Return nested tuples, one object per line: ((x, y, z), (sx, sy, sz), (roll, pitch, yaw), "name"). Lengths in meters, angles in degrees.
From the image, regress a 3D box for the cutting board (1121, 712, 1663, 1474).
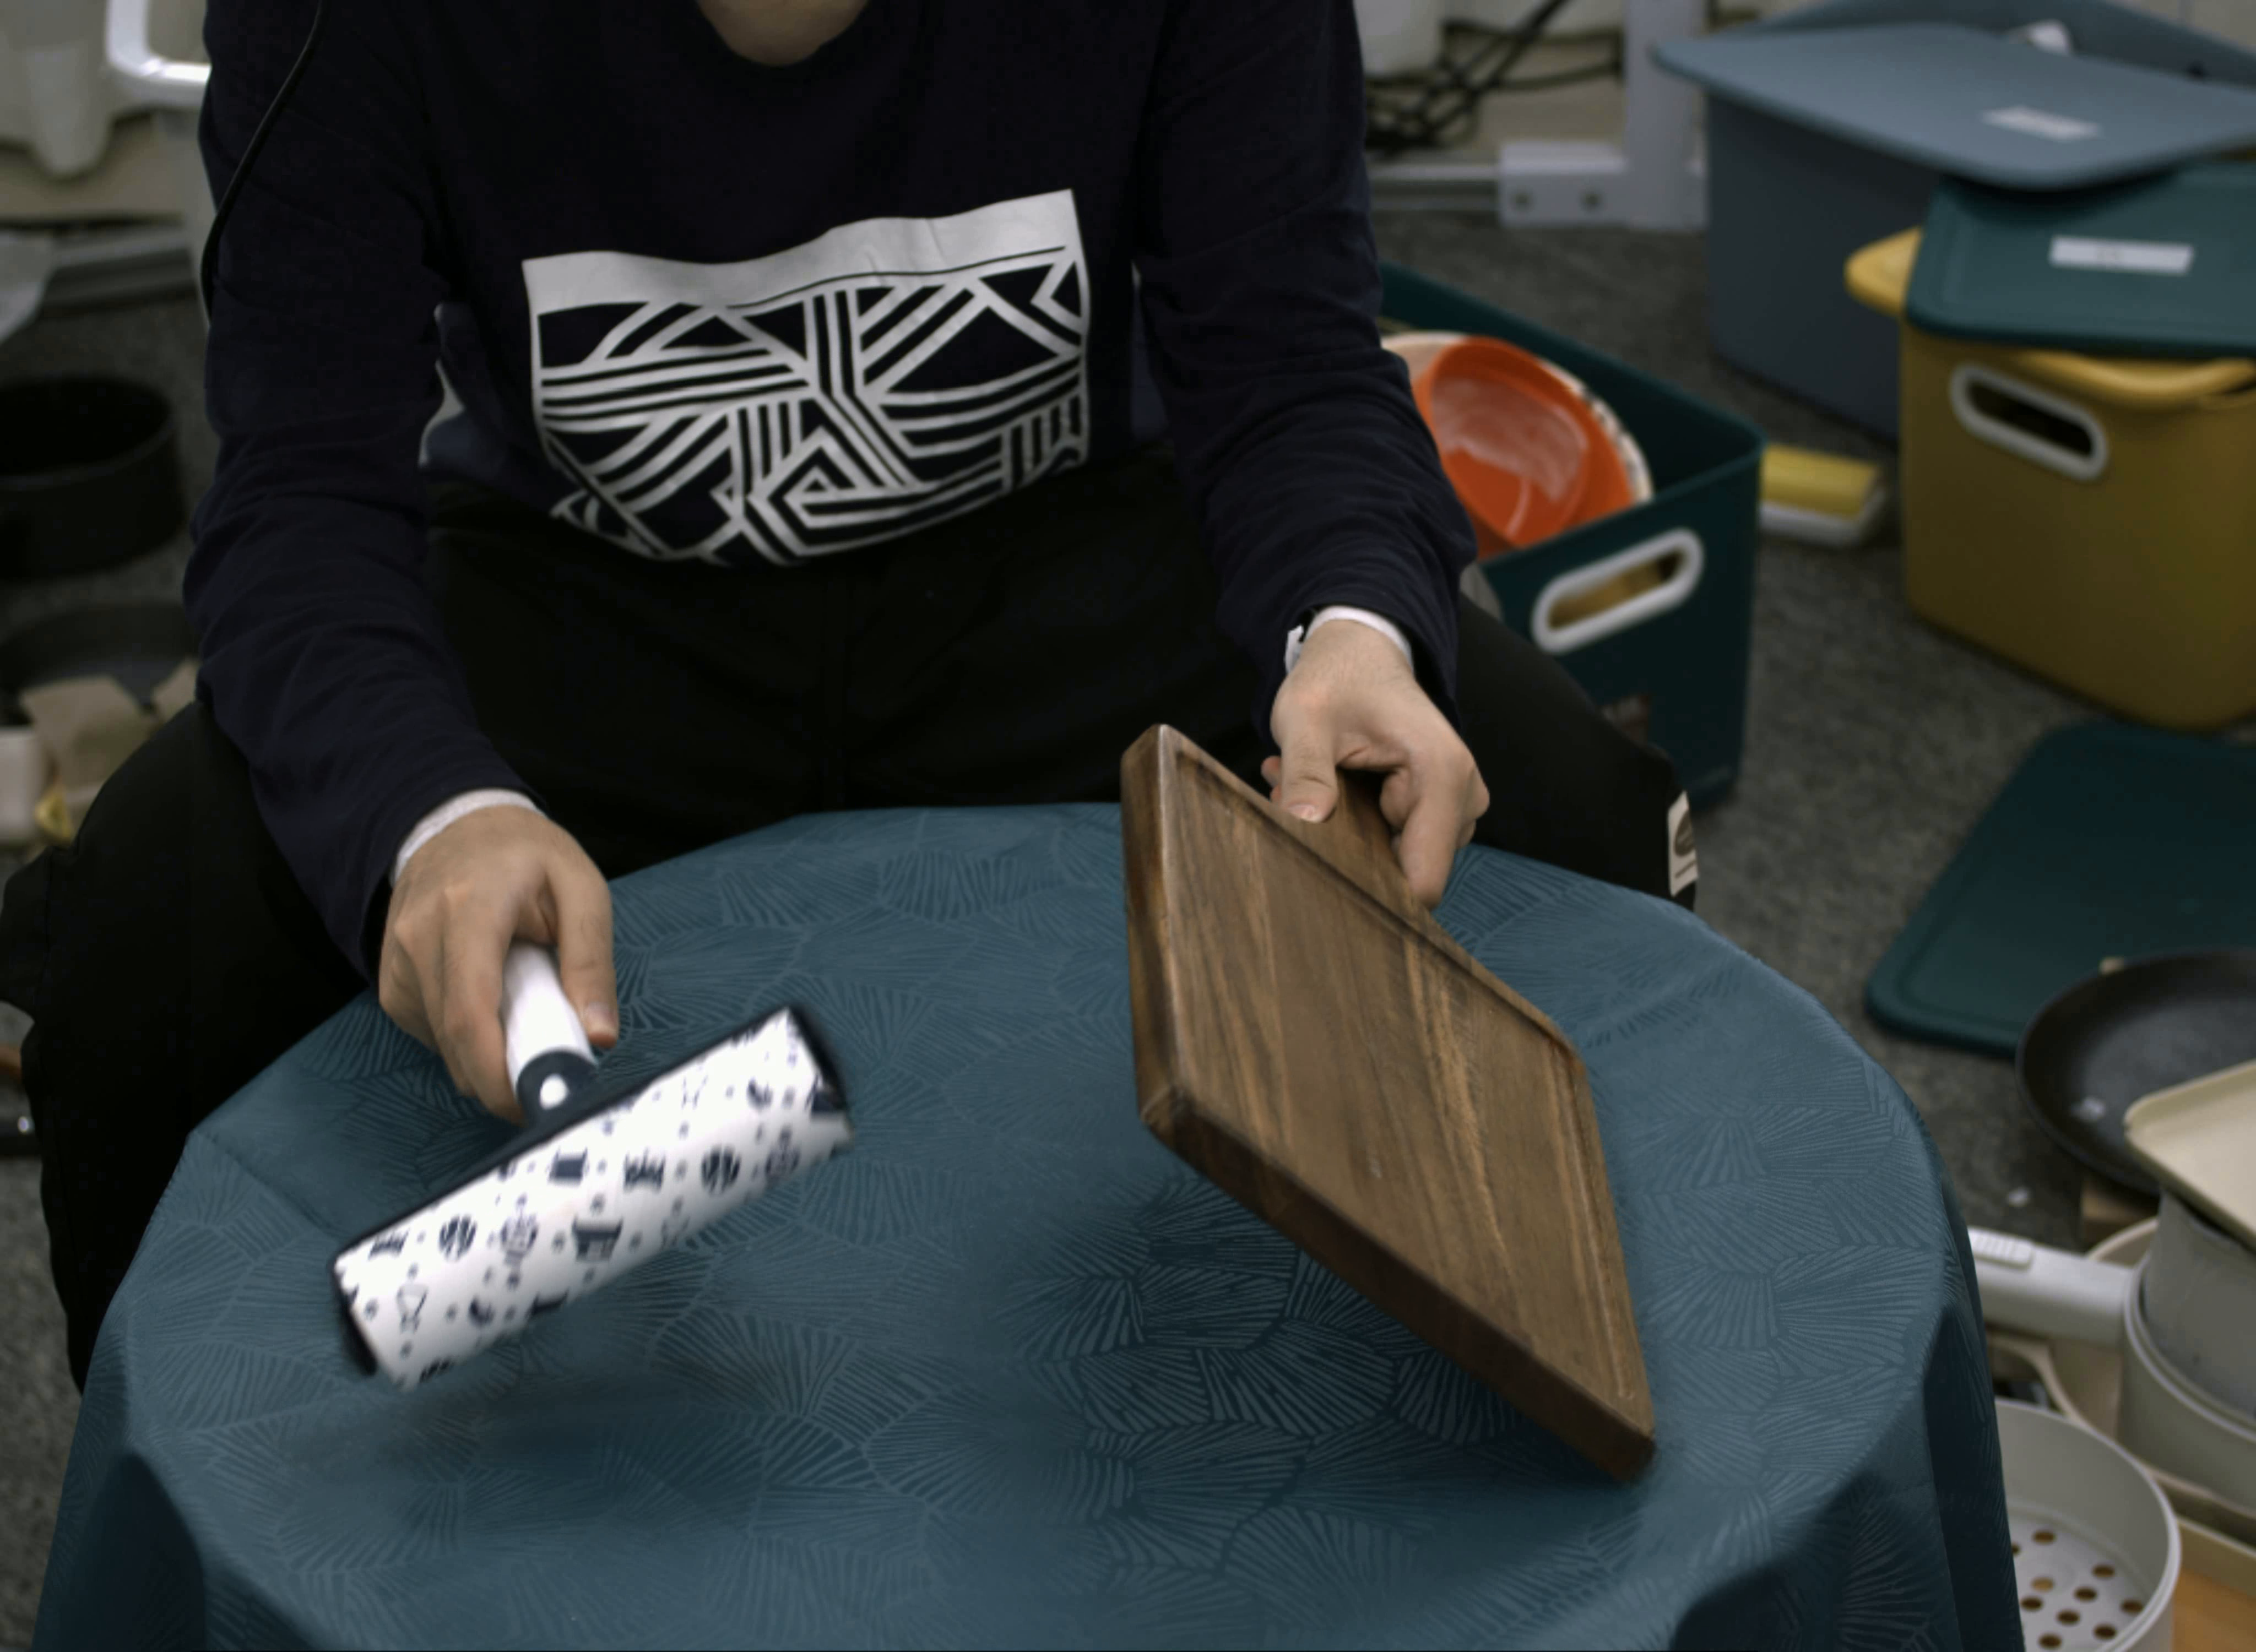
((0.078, 0.057, 1.819), (0.200, 0.023, 0.357), (38, 20, -19), "cutting board")

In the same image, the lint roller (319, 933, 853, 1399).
((-0.191, 0.084, 1.822), (0.176, 0.050, 0.249), (-29, 25, -3), "lint roller")
